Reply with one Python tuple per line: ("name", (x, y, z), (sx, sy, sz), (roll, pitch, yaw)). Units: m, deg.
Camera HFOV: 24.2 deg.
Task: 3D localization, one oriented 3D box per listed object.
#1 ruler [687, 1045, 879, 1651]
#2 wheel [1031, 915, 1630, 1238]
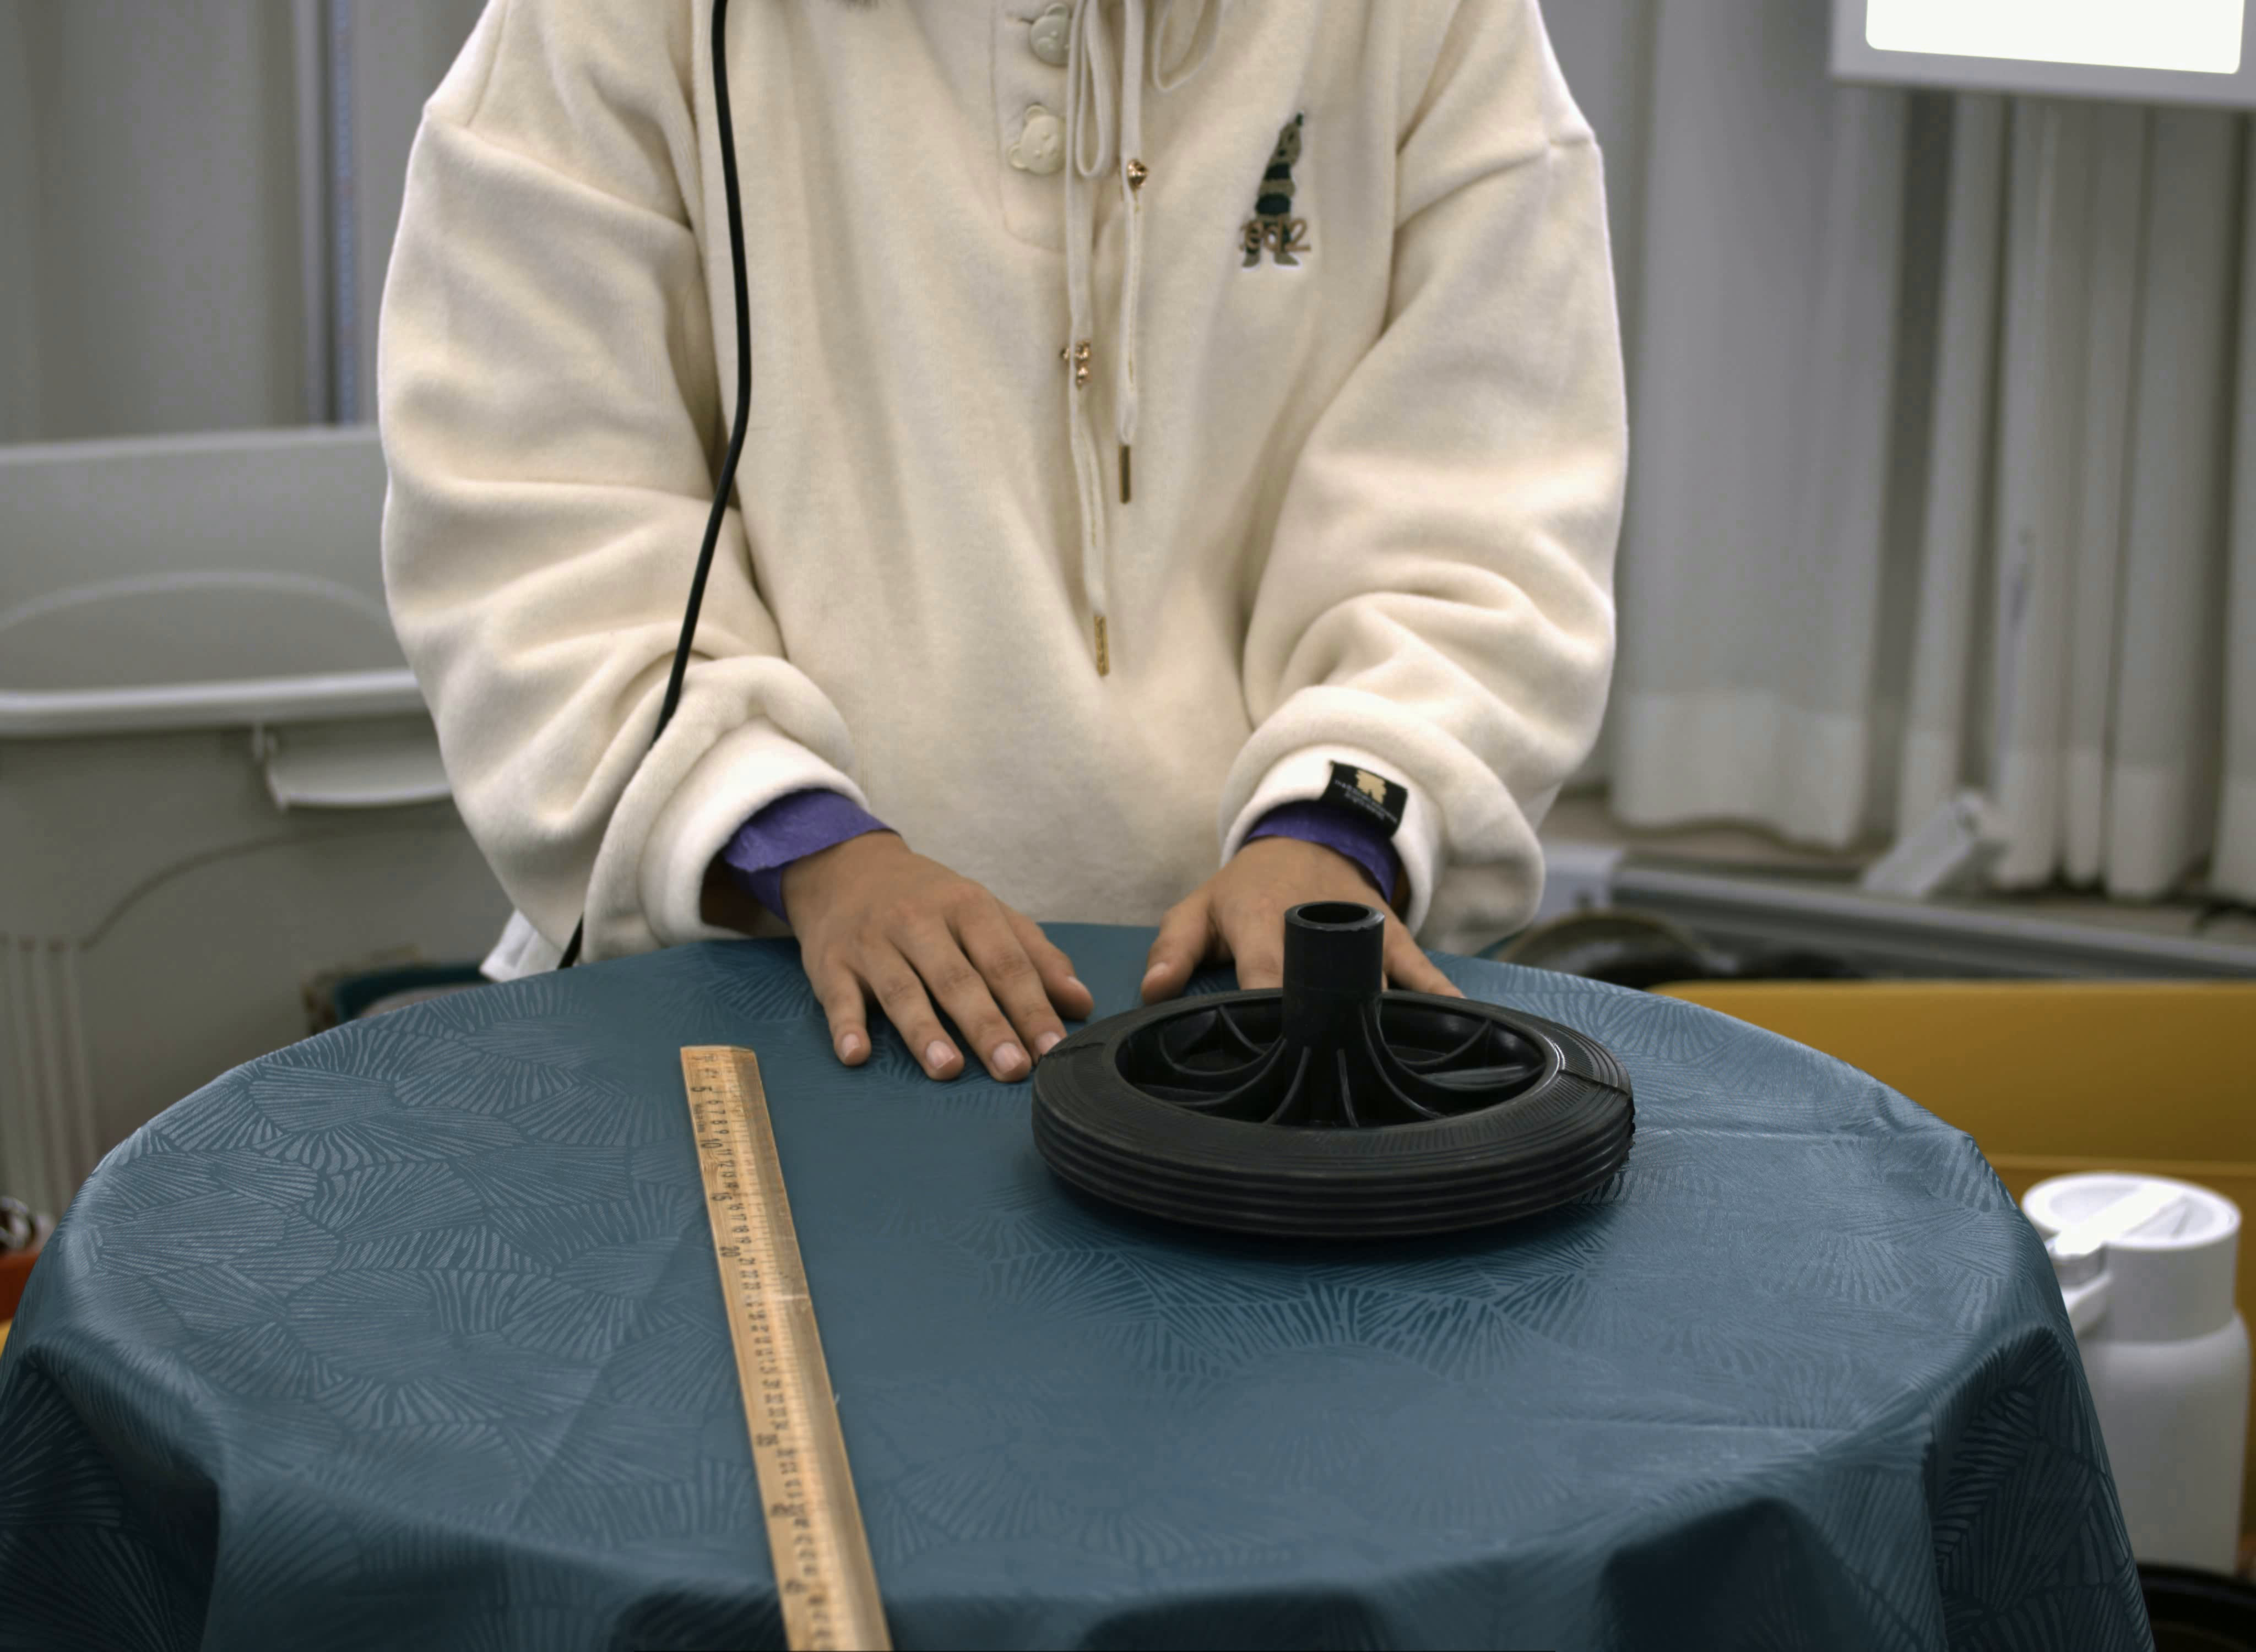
("ruler", (-0.103, 0.140, 1.508), (0.027, 0.006, 0.496), (-3, 16, -7))
("wheel", (0.064, 0.069, 1.636), (0.191, 0.080, 0.185), (-13, 20, -41))
